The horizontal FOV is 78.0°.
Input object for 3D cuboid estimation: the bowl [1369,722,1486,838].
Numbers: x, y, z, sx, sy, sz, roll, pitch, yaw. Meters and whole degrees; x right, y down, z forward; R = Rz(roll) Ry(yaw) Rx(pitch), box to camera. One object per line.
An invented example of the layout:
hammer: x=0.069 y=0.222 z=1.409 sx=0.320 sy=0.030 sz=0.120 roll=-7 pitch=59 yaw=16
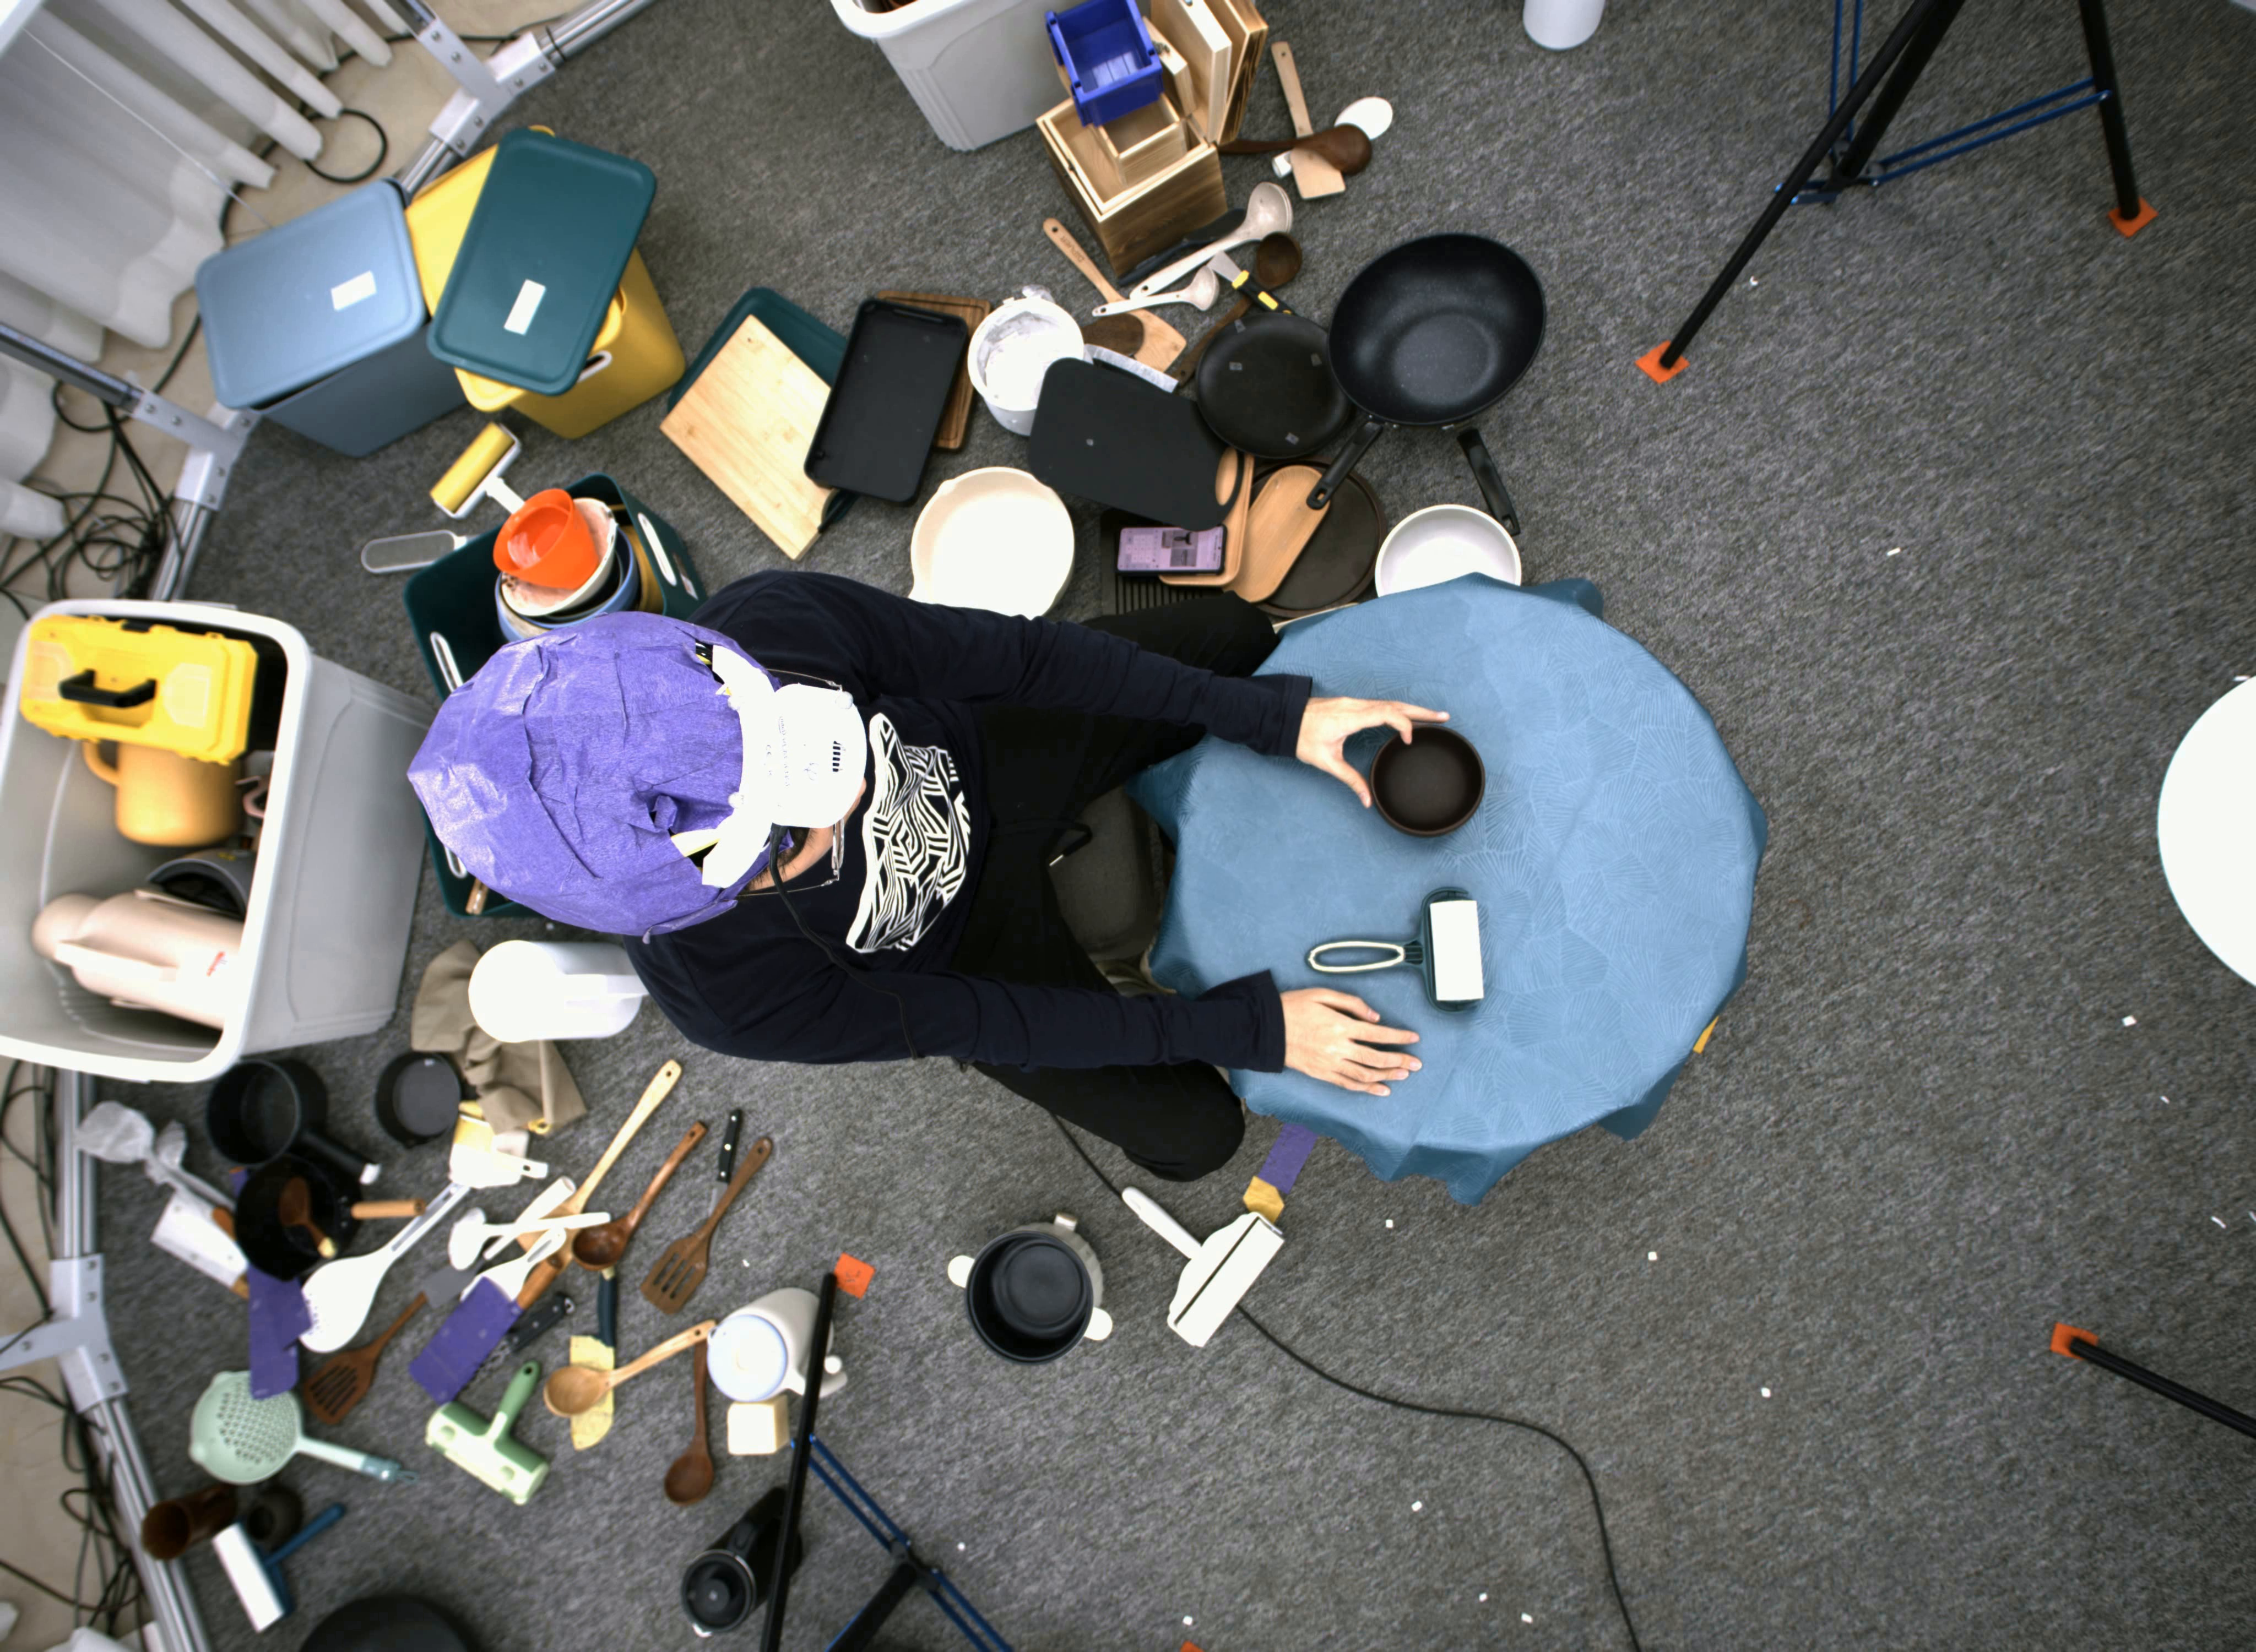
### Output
bowl: x=0.309 y=-0.047 z=1.423 sx=0.118 sy=0.070 sz=0.118 roll=-1 pitch=88 yaw=12

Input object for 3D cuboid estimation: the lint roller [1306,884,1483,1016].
lint roller: x=0.273 y=0.133 z=1.436 sx=0.181 sy=0.048 sz=0.133 roll=-5 pitch=86 yaw=13
